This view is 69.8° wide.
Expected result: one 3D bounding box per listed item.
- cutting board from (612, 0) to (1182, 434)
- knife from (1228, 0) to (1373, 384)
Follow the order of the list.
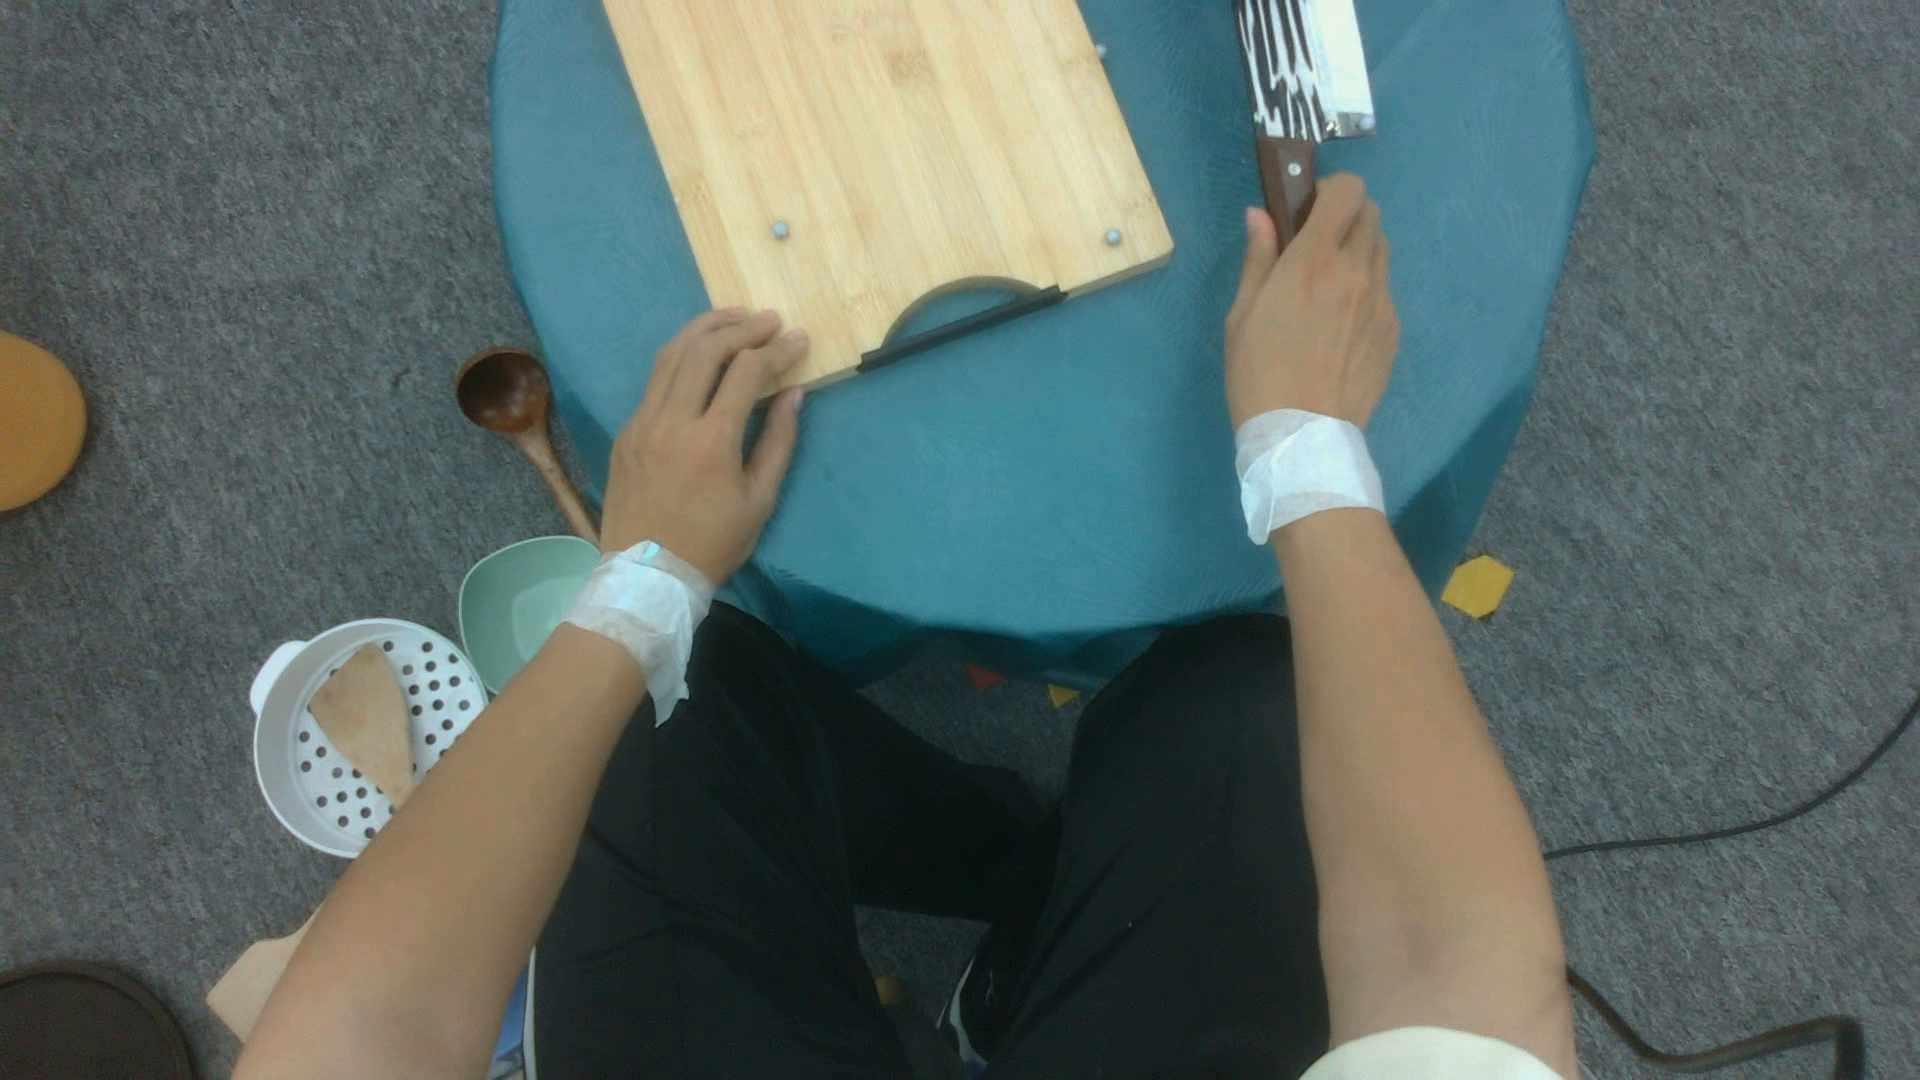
[{"bbox_3d":[-0.052,-0.258,0.769,0.251,0.023,0.349,-21,80,-4],"label":"cutting board"},{"bbox_3d":[0.182,-0.229,0.726,0.068,0.024,0.300,-6,81,-11],"label":"knife"}]
